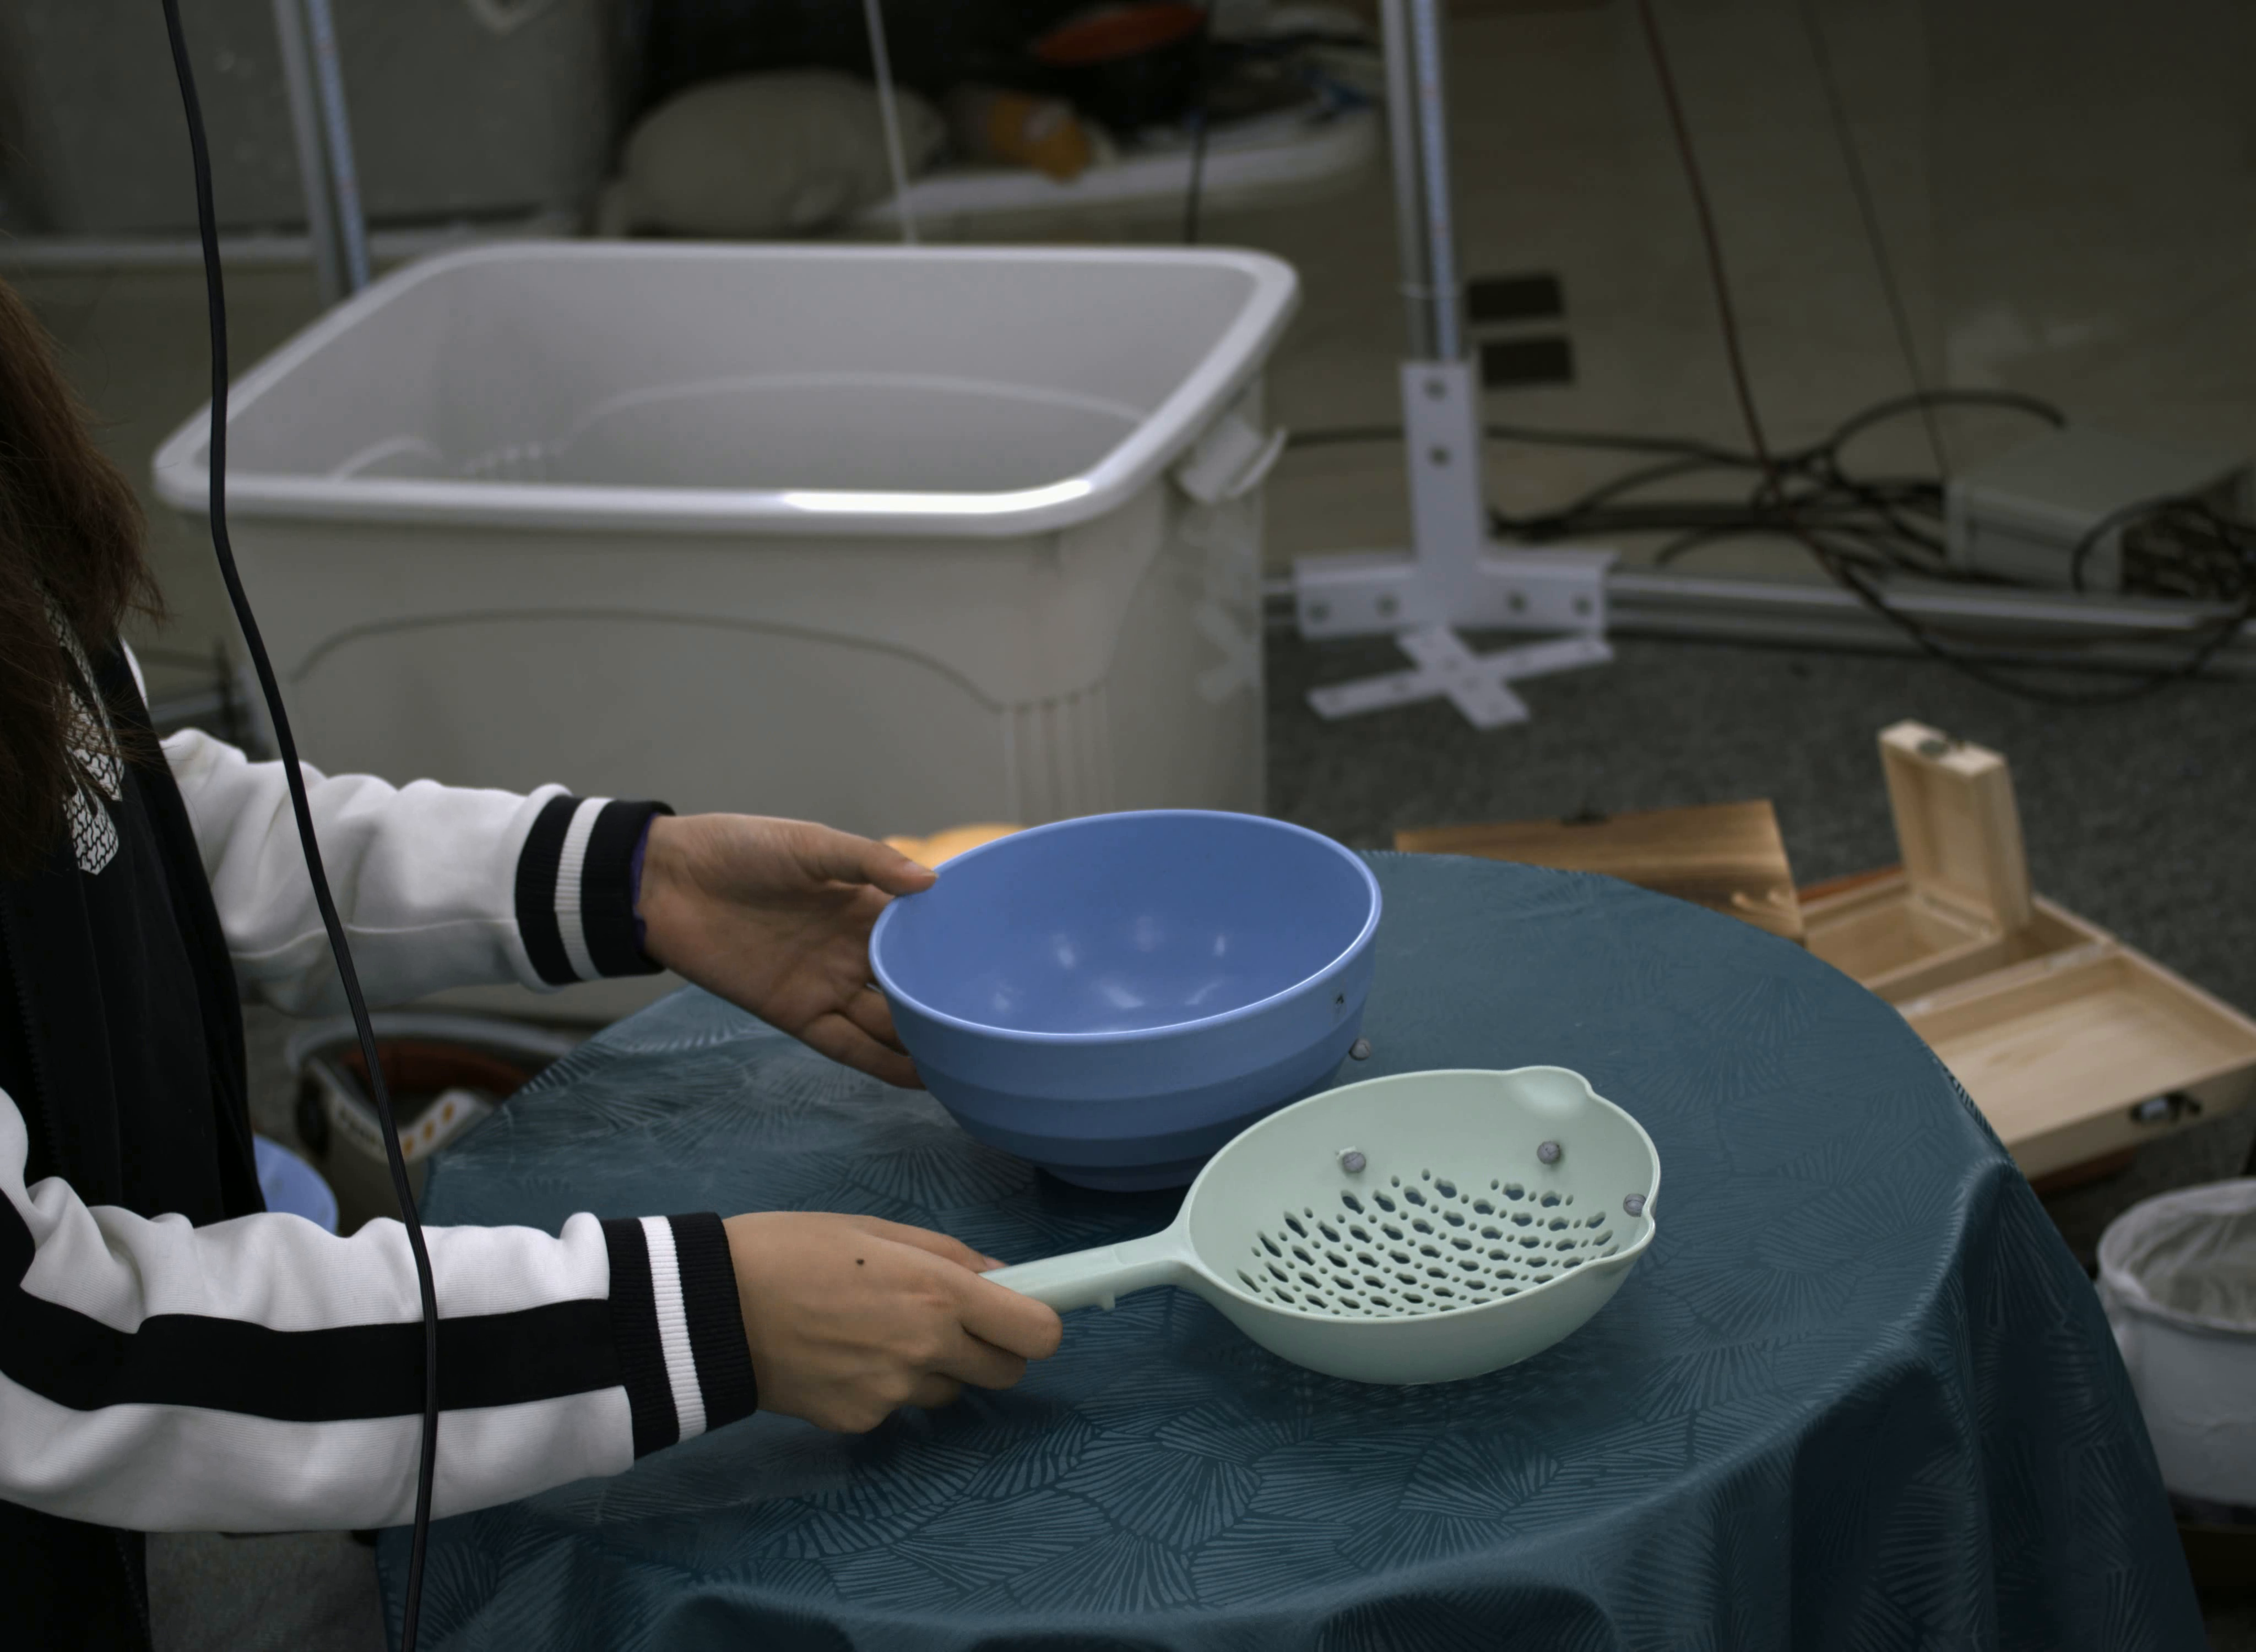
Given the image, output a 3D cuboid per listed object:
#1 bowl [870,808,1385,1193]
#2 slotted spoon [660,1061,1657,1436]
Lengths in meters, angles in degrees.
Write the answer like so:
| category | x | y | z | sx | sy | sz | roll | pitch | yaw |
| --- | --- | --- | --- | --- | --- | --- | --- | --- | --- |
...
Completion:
| category | x | y | z | sx | sy | sz | roll | pitch | yaw |
| --- | --- | --- | --- | --- | --- | --- | --- | --- | --- |
| bowl | 0.004 | 0.077 | 2.166 | 0.196 | 0.097 | 0.193 | -5 | 26 | 3 |
| slotted spoon | 0.010 | 0.163 | 2.009 | 0.358 | 0.076 | 0.167 | -6 | 26 | -6 |
